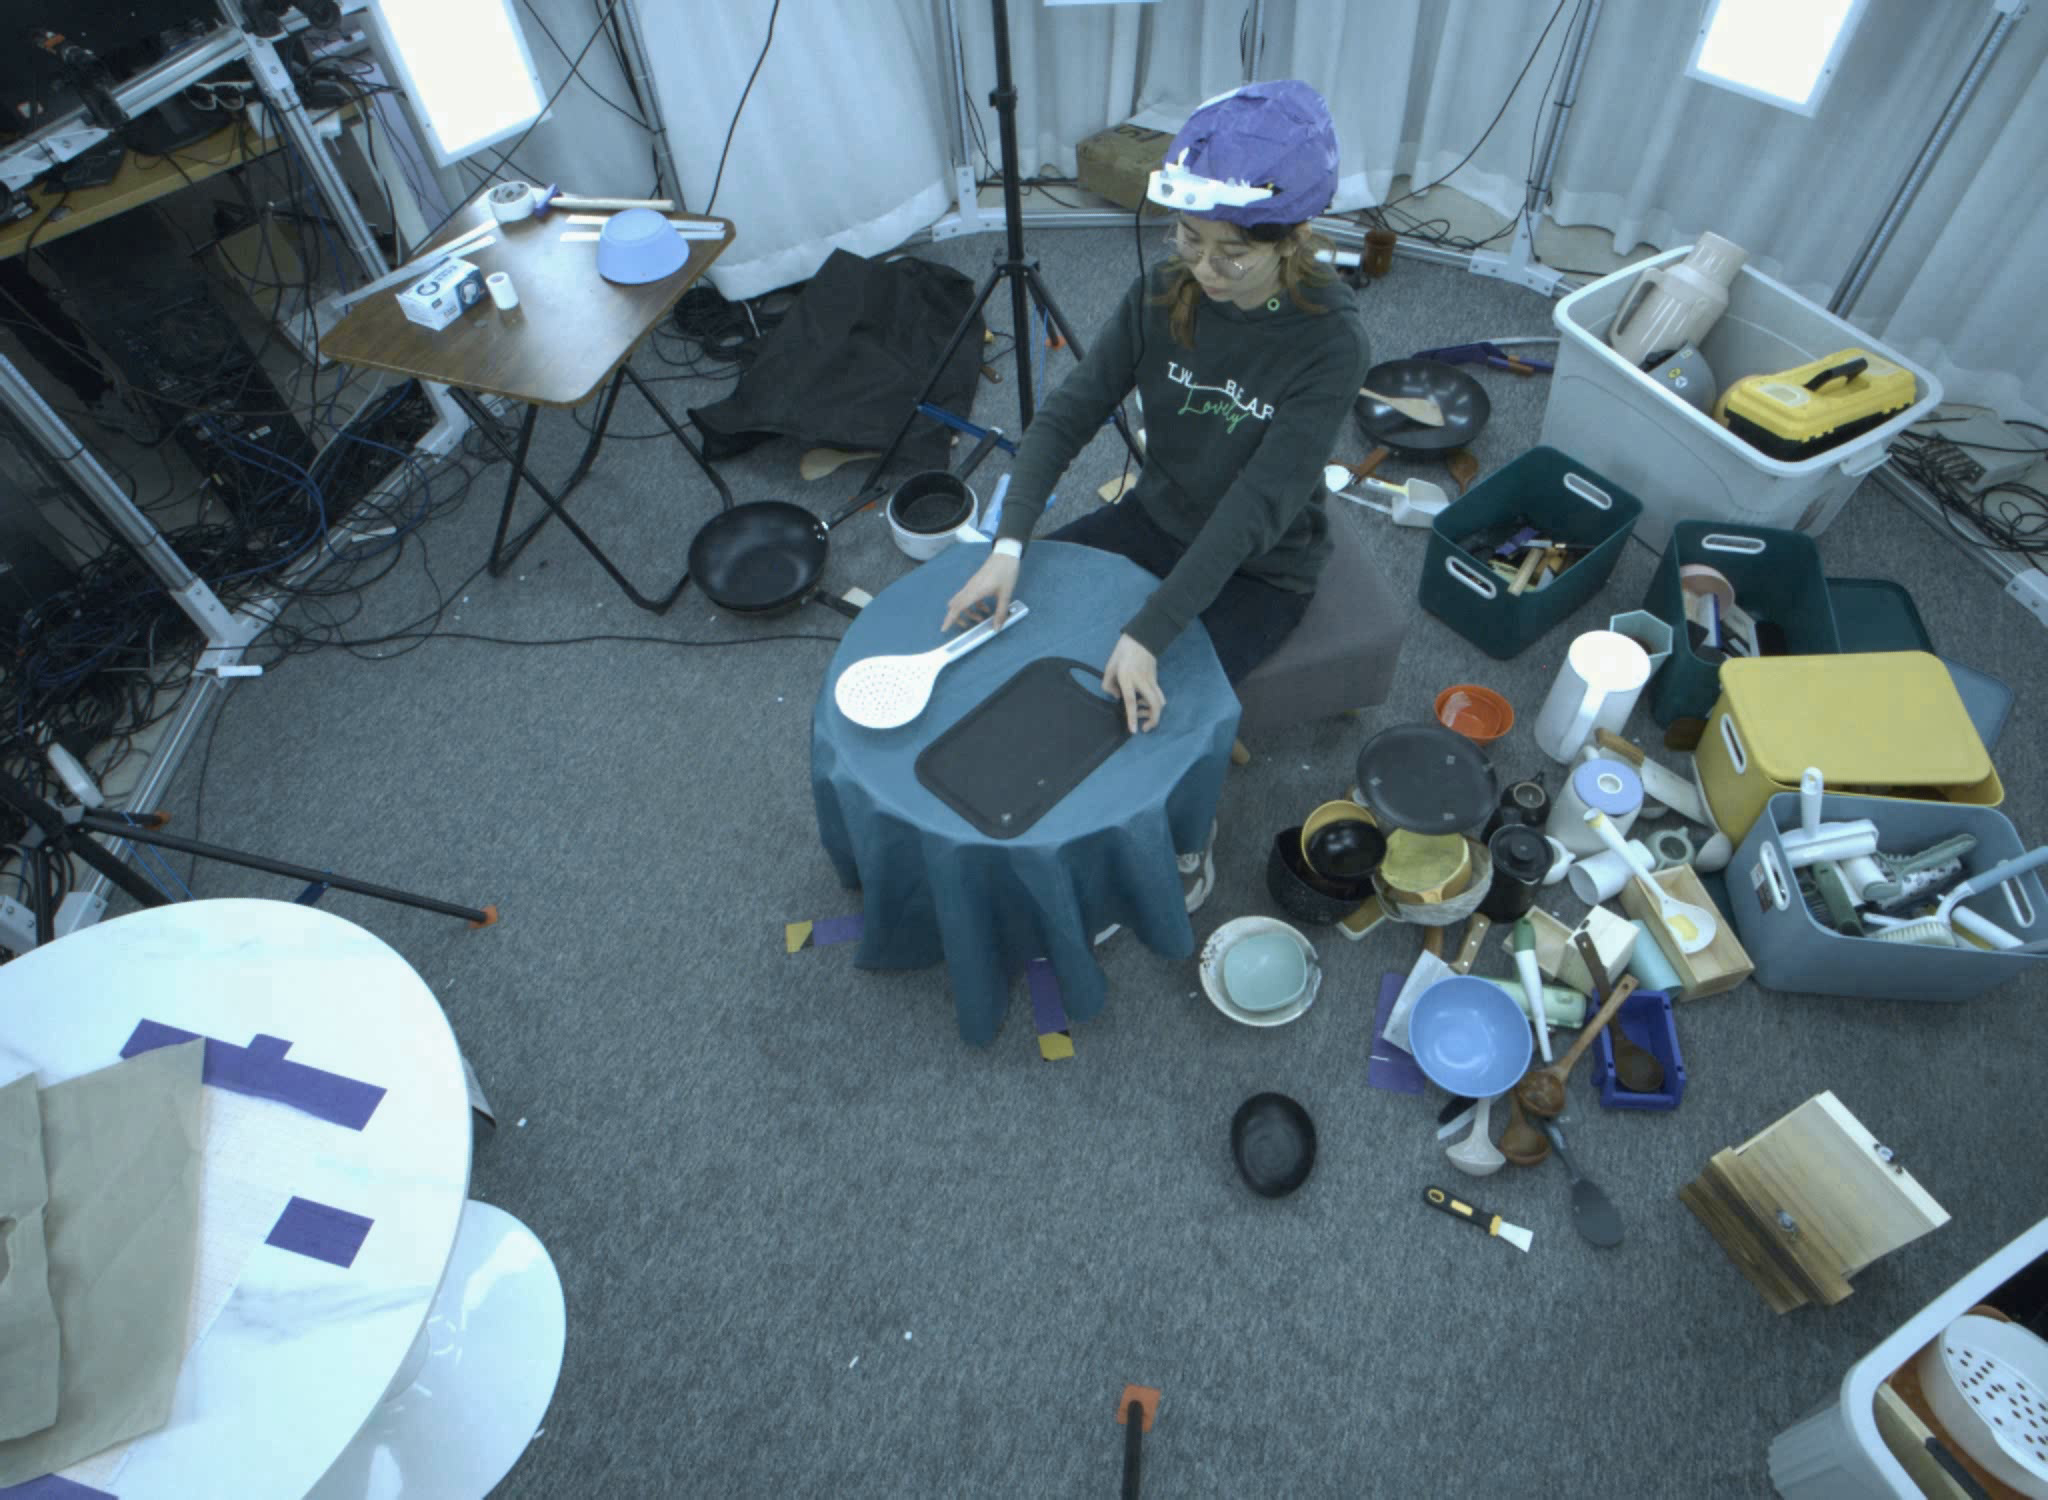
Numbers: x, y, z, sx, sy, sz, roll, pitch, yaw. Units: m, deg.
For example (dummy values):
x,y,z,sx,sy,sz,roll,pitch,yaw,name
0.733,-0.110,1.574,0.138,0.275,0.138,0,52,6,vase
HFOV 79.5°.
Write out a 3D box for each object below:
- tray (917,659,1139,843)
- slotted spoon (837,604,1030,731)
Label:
x,y,z,sx,sy,sz,roll,pitch,yaw,name
0.013,-0.012,1.801,0.207,0.010,0.327,38,64,24,tray
-0.129,-0.134,1.868,0.352,0.046,0.134,-37,65,-23,slotted spoon
